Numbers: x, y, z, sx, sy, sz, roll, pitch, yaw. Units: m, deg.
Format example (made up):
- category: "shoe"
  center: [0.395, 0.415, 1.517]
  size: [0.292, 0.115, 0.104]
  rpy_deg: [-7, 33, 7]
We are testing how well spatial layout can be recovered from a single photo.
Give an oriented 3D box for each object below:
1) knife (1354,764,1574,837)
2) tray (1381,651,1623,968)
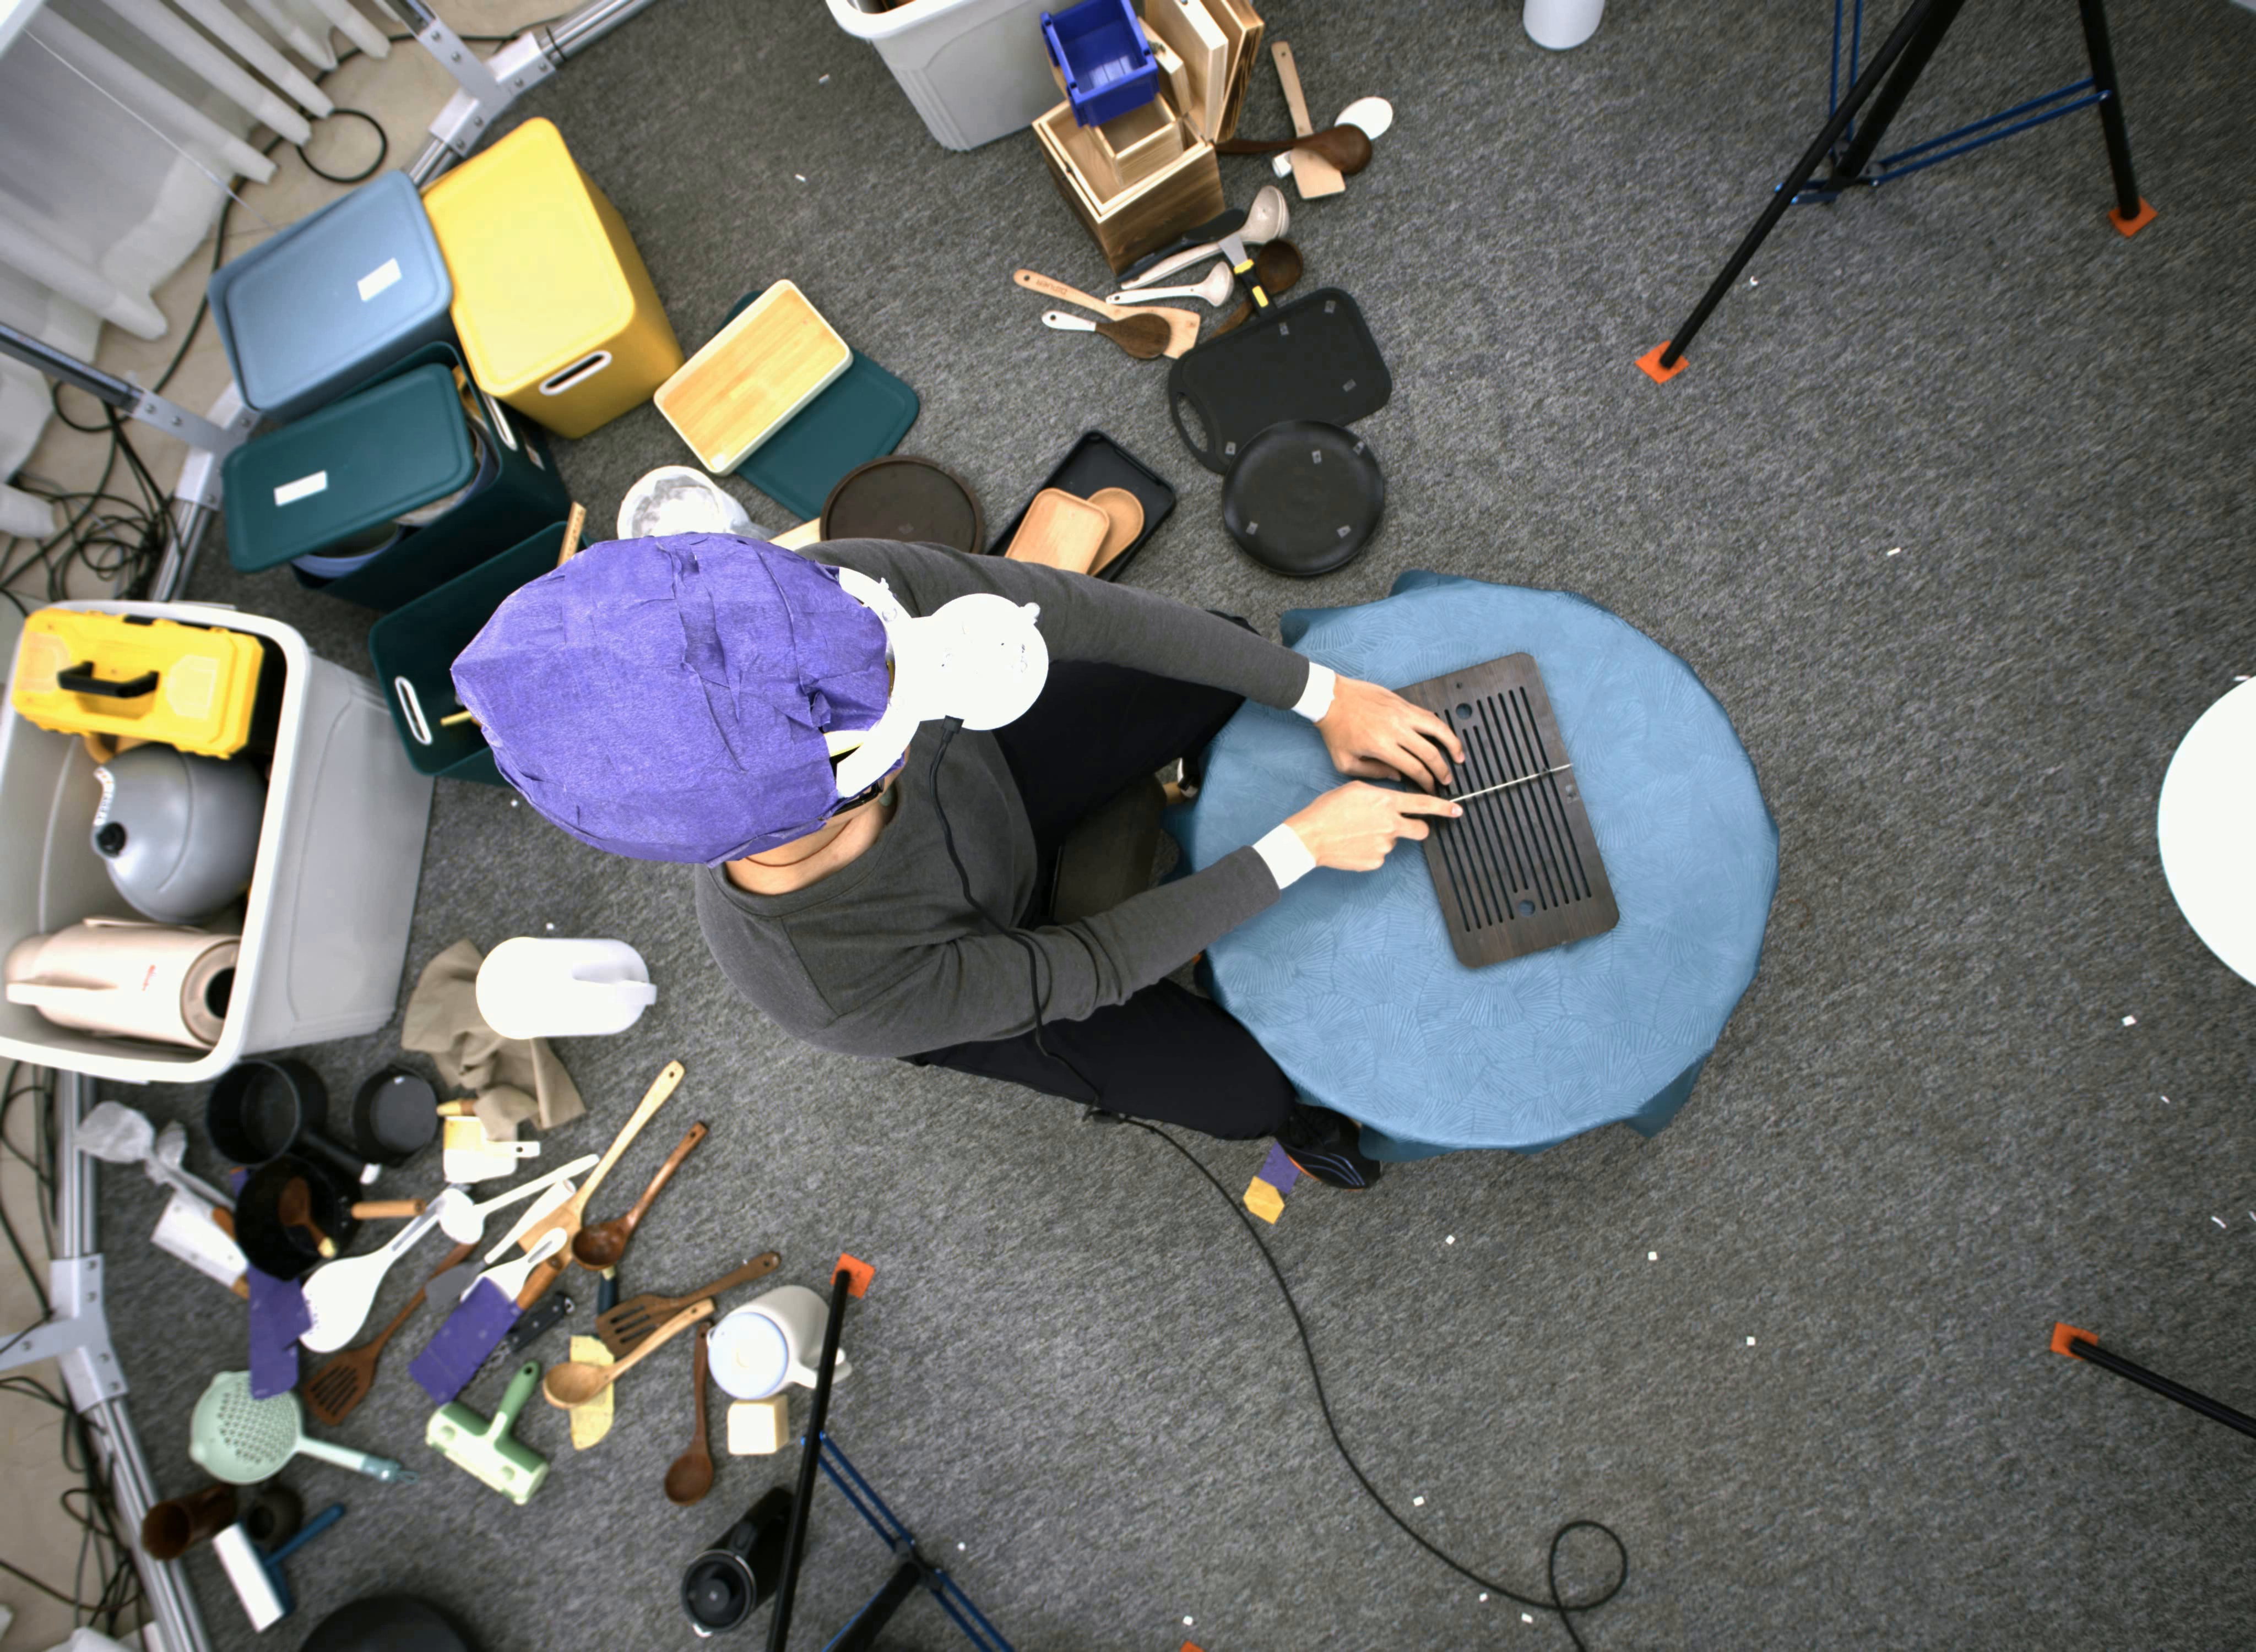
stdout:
- category: "knife"
  center: [0.345, -0.032, 1.403]
  size: [0.238, 0.025, 0.016]
  rpy_deg: [-17, 77, -1]
- category: "tray"
  center: [0.388, -0.020, 1.434]
  size: [0.171, 0.018, 0.304]
  rpy_deg: [-17, 84, 10]
